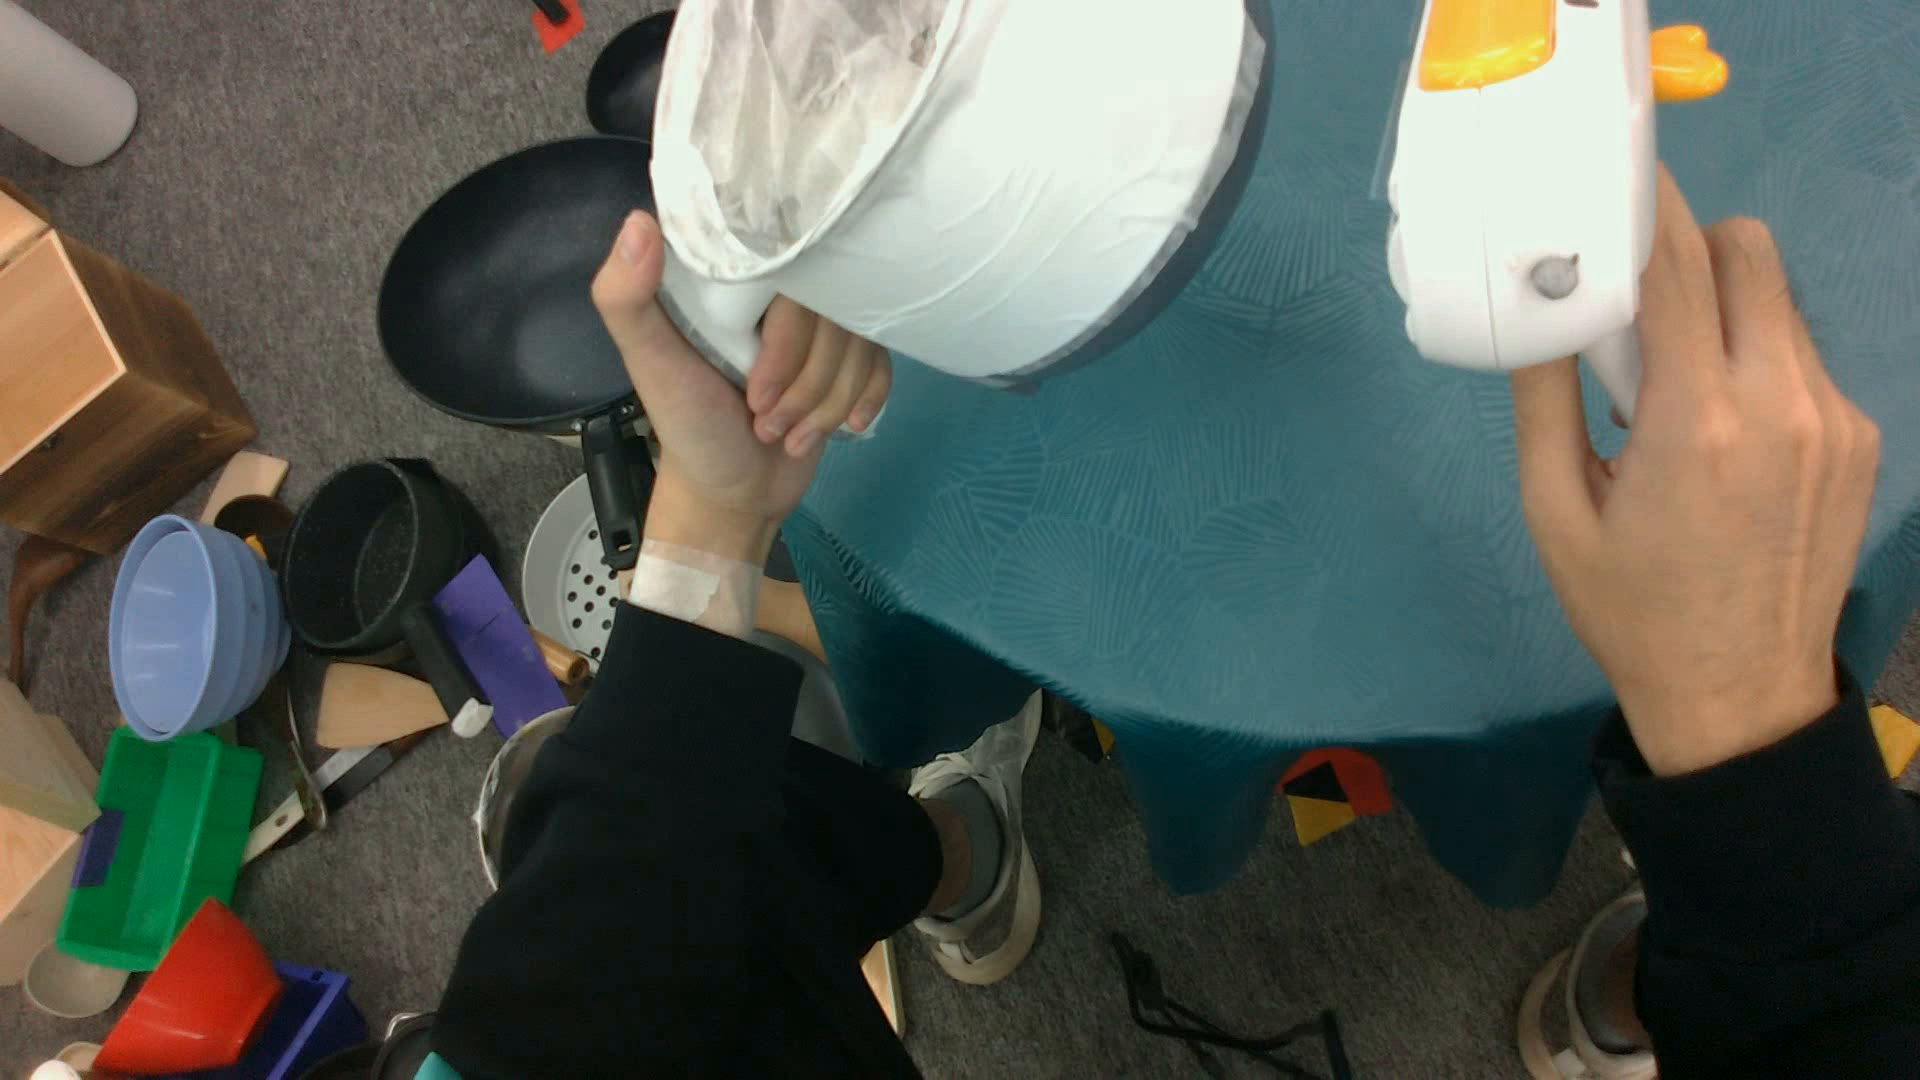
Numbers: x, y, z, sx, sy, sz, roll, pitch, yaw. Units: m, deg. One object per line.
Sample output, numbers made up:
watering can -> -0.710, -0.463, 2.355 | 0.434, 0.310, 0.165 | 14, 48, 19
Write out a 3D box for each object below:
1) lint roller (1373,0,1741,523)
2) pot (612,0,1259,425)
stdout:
lint roller -> 0.170, -0.075, 0.378 | 0.074, 0.192, 0.194 | -13, 38, 27
pot -> -0.020, -0.137, 0.464 | 0.232, 0.137, 0.179 | -47, 44, 27
